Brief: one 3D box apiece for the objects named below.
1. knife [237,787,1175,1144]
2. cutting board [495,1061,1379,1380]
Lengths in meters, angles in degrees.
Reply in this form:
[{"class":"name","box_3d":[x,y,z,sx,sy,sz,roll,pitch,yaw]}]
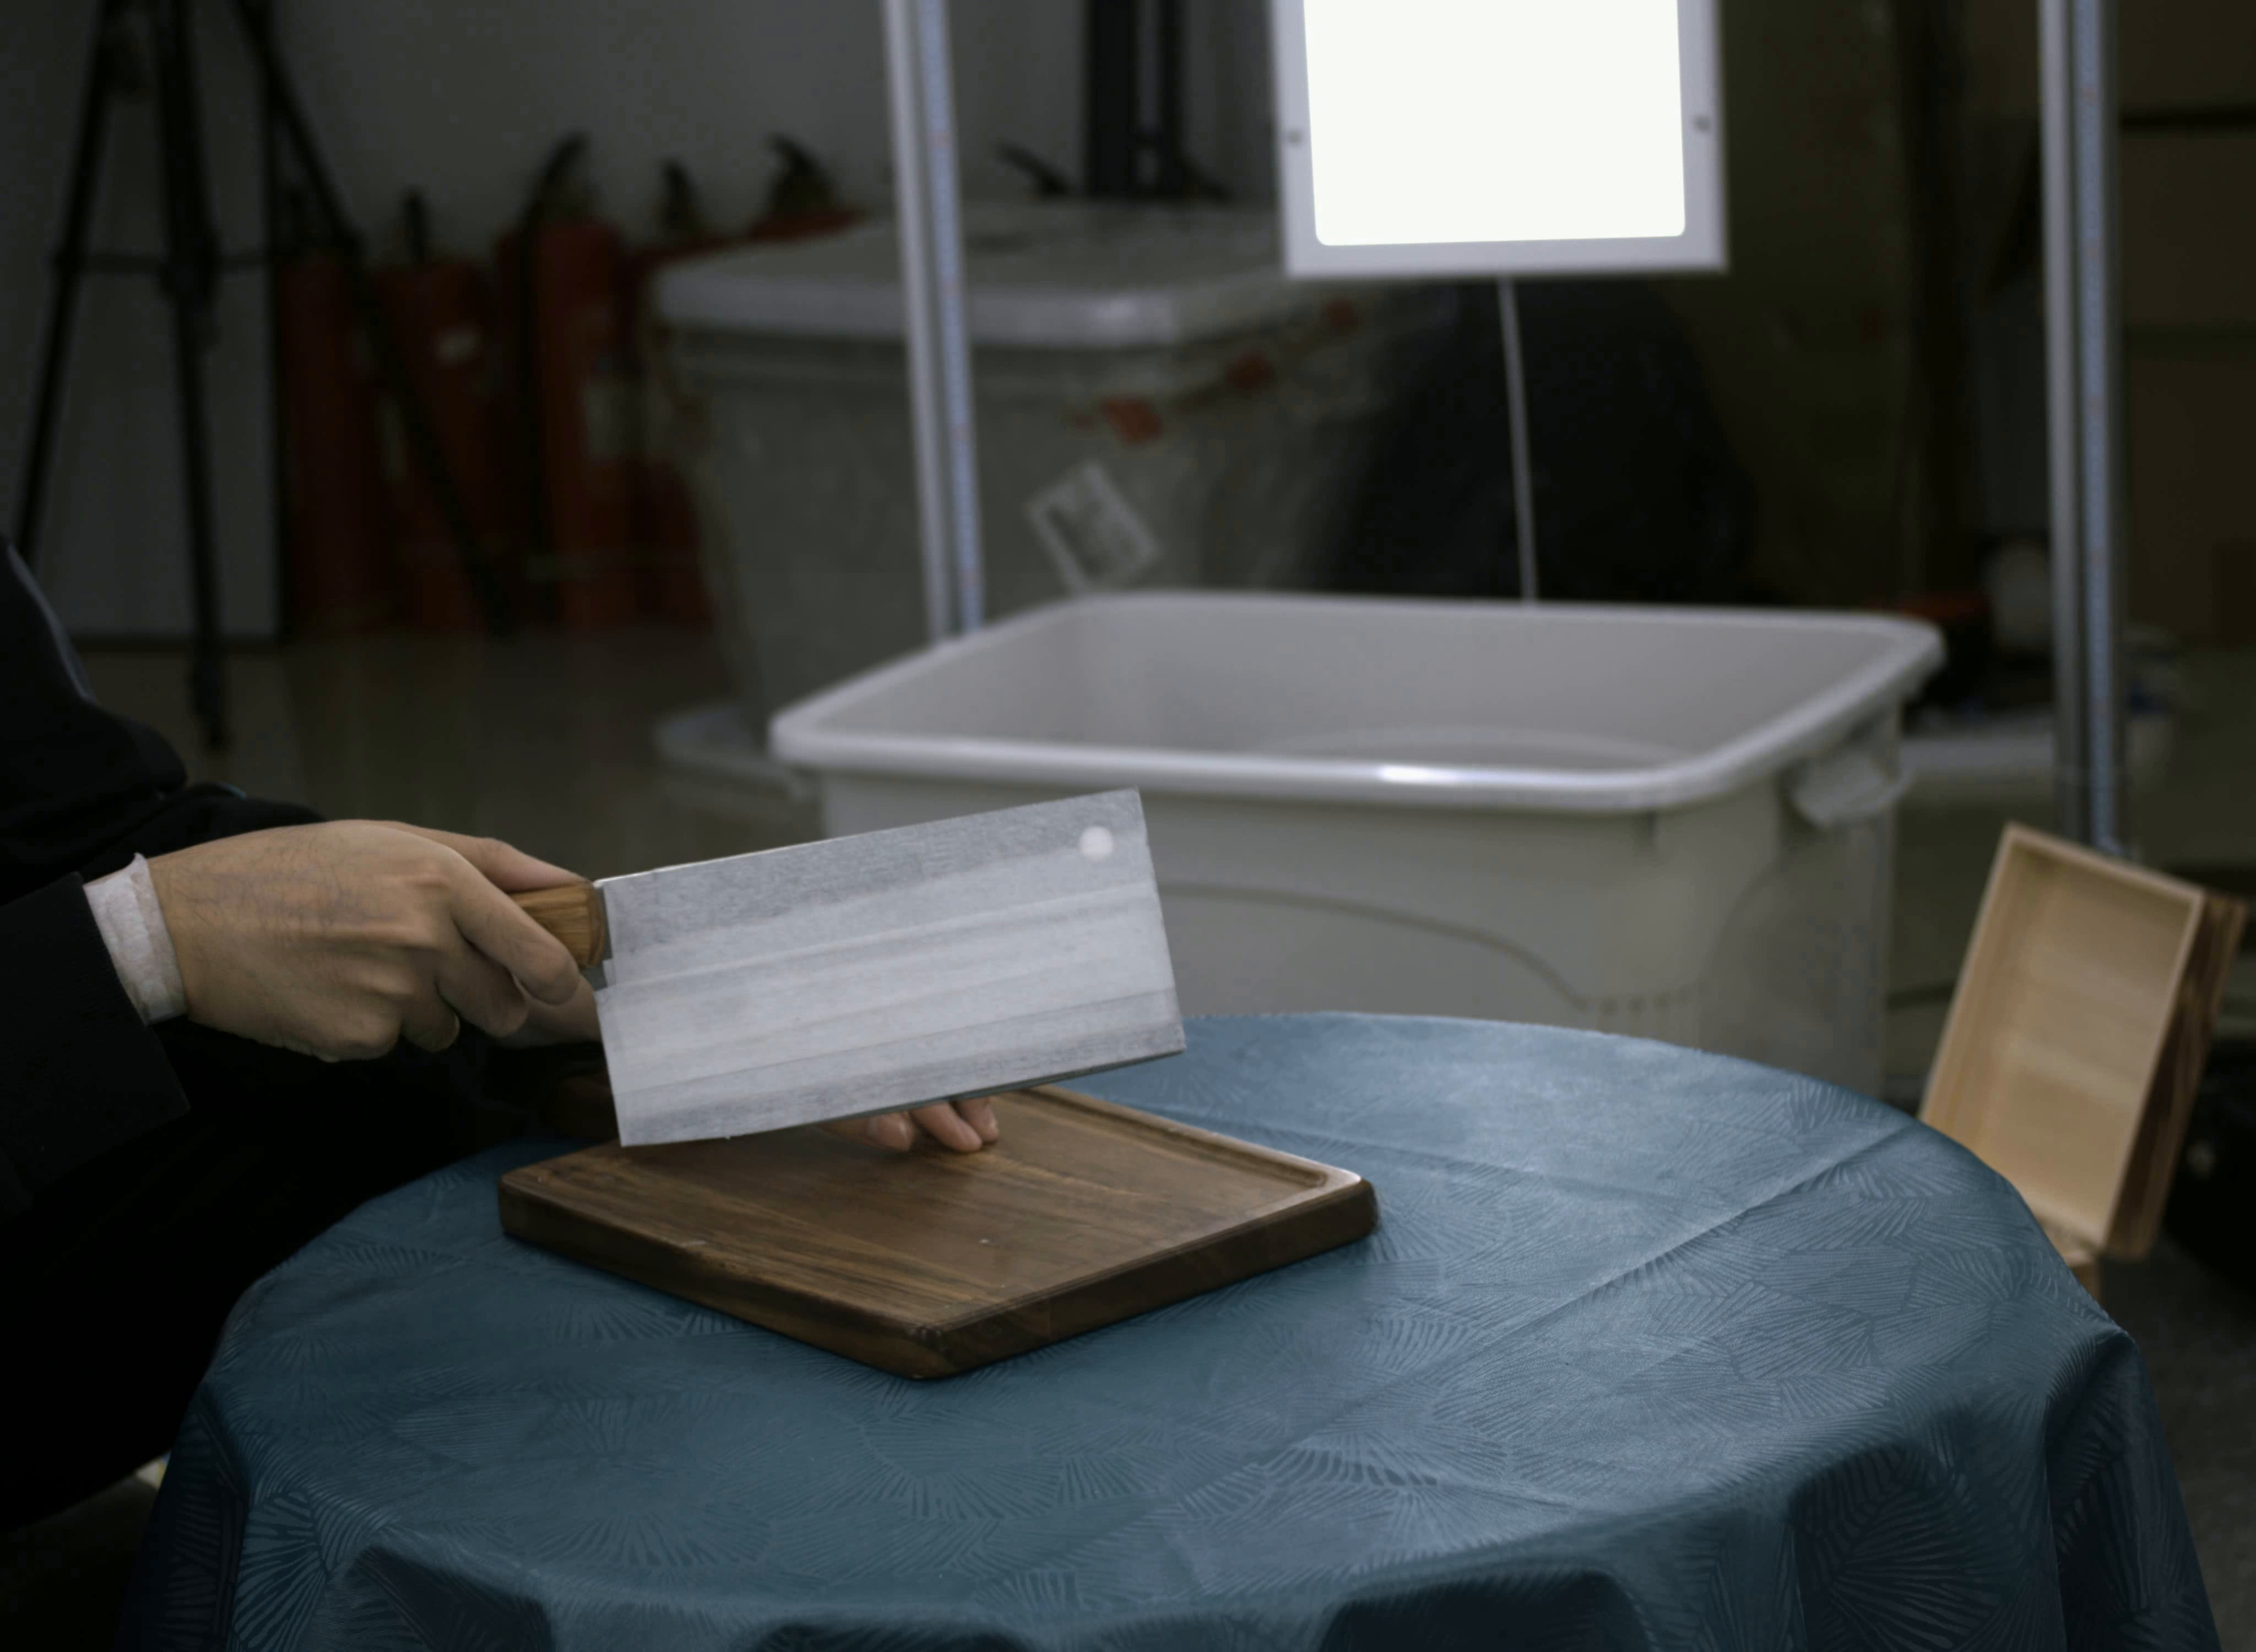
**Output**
[{"class":"knife","box_3d":[-0.137,0.055,1.803,0.307,0.093,0.021,-10,8,8]},{"class":"cutting board","box_3d":[-0.099,0.122,1.908,0.196,0.023,0.359,-15,17,-36]}]
